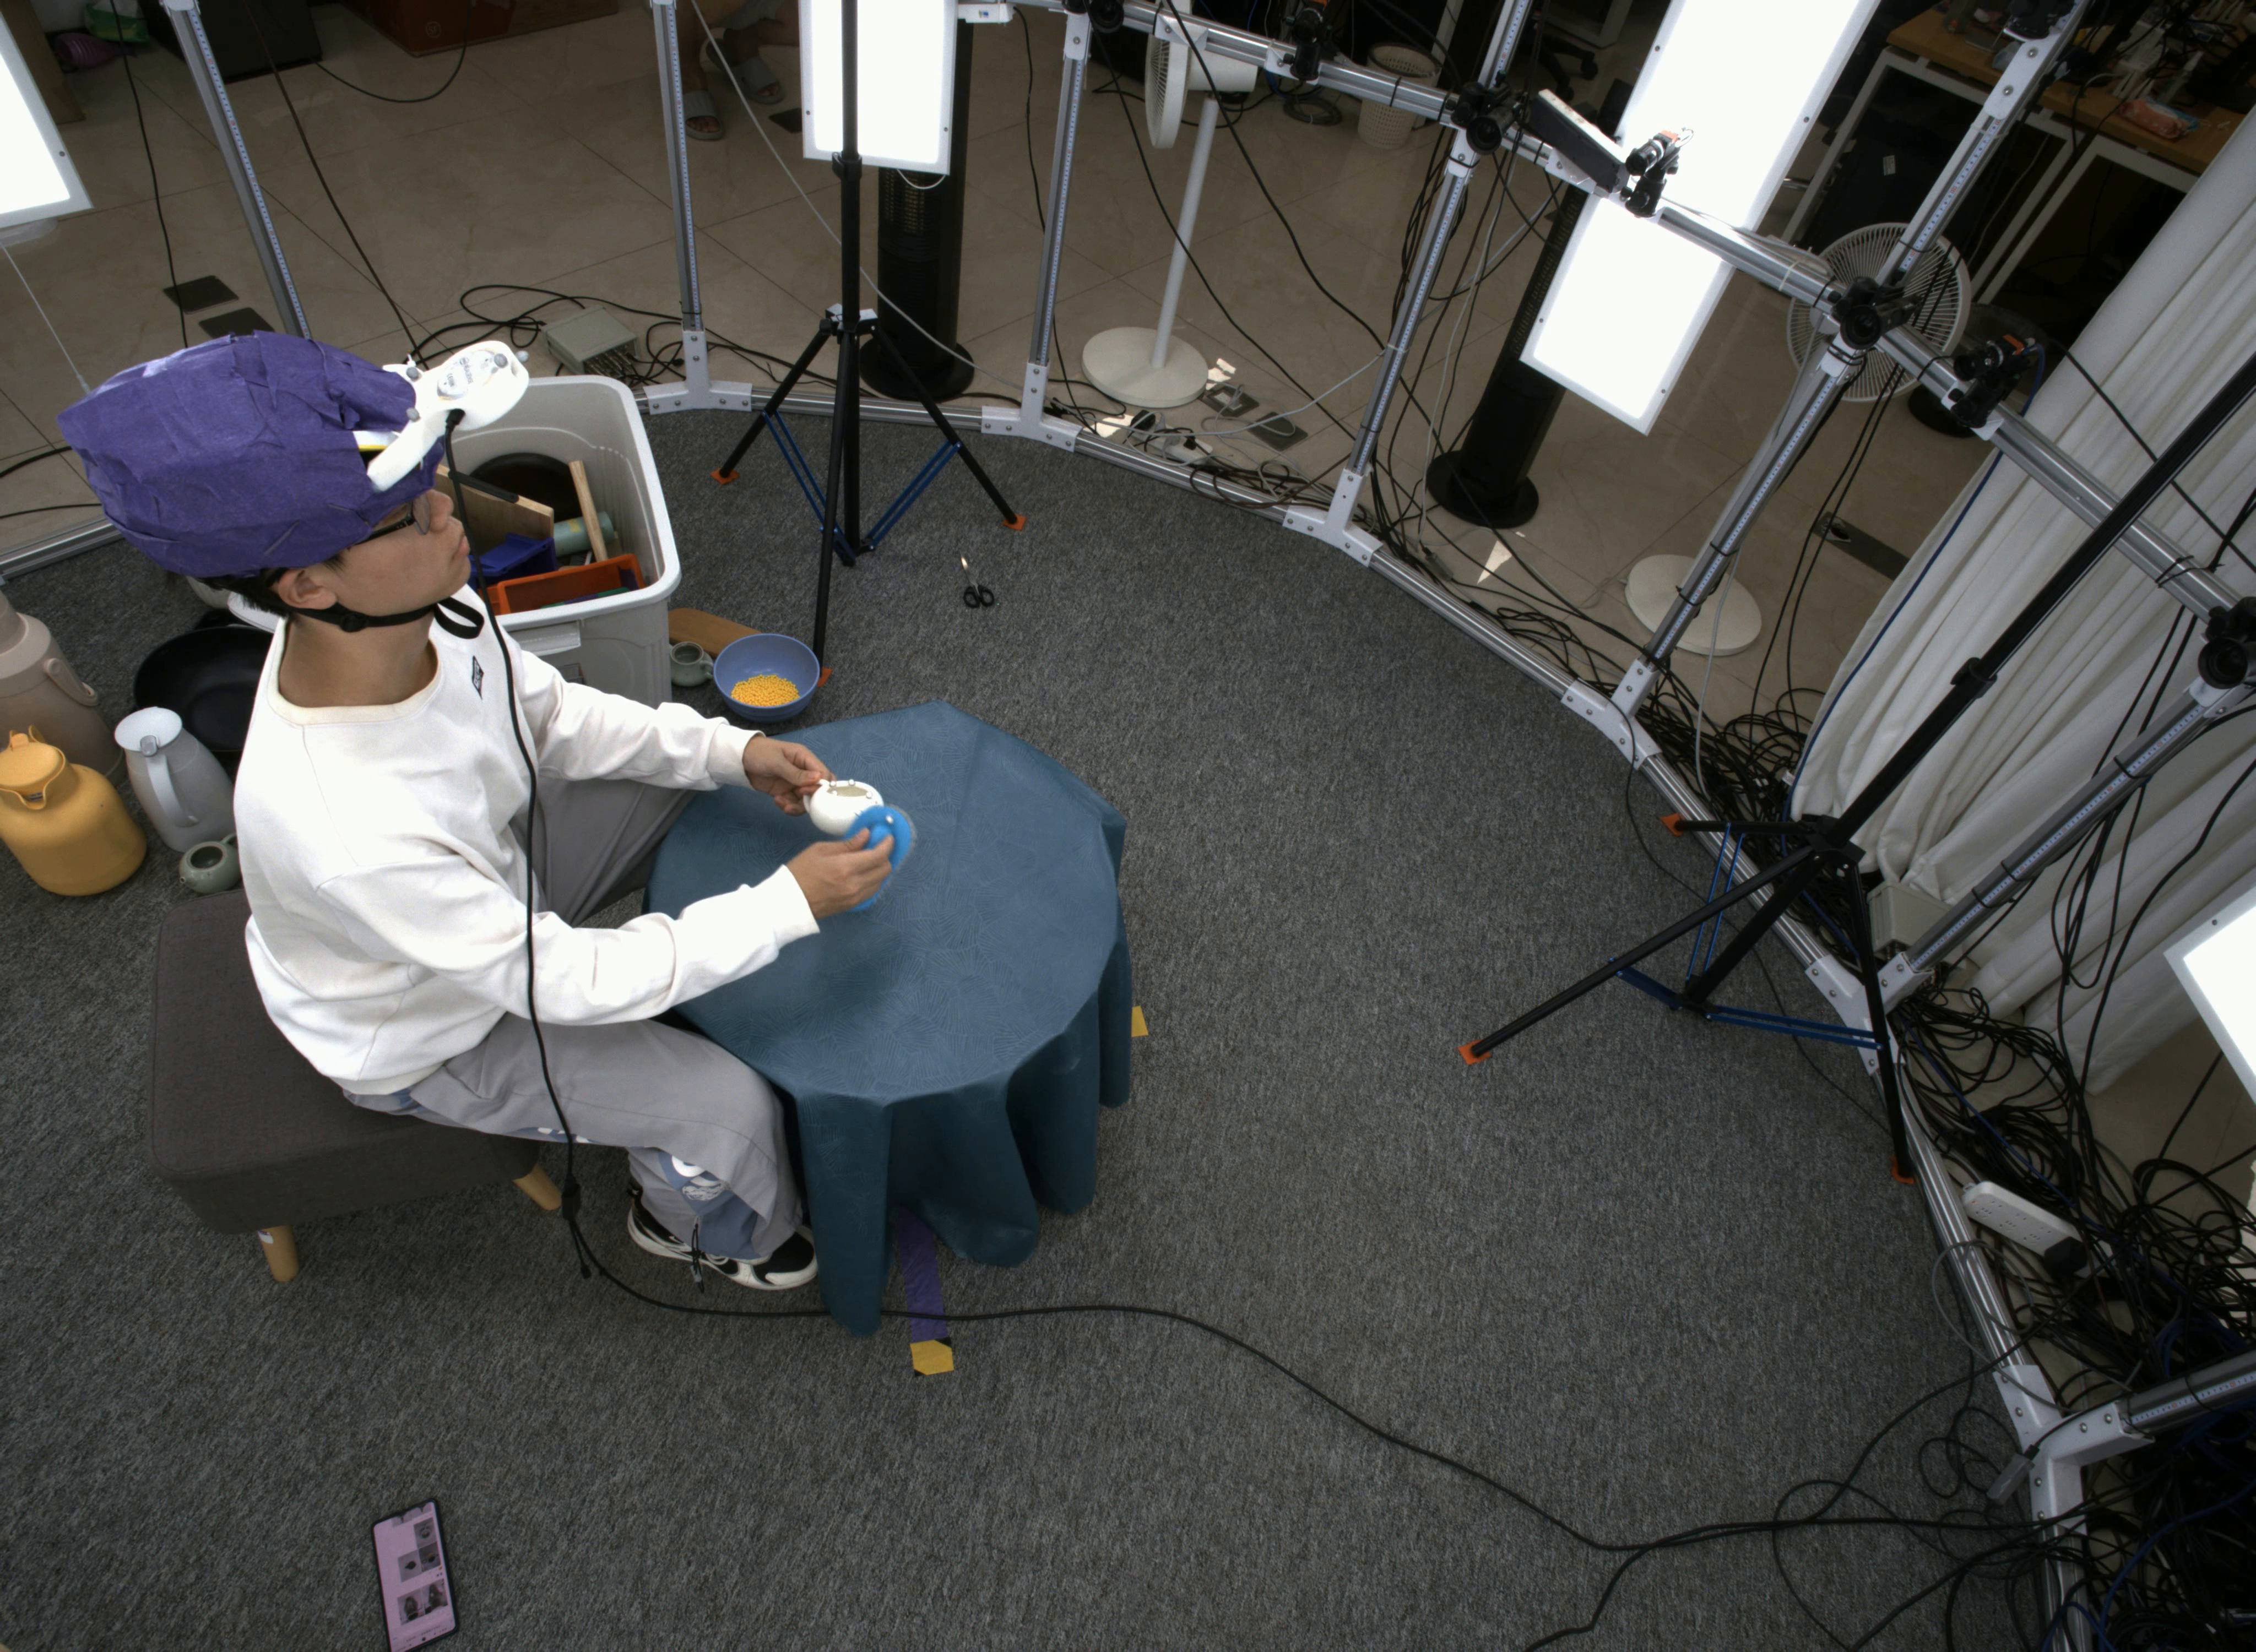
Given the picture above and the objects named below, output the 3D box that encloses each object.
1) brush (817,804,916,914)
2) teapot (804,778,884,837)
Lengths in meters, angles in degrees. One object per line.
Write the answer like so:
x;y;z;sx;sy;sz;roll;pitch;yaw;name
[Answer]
-0.314;0.042;1.553;0.085;0.063;0.142;35;94;-8;brush
-0.364;-0.025;1.642;0.123;0.058;0.094;16;25;24;teapot
